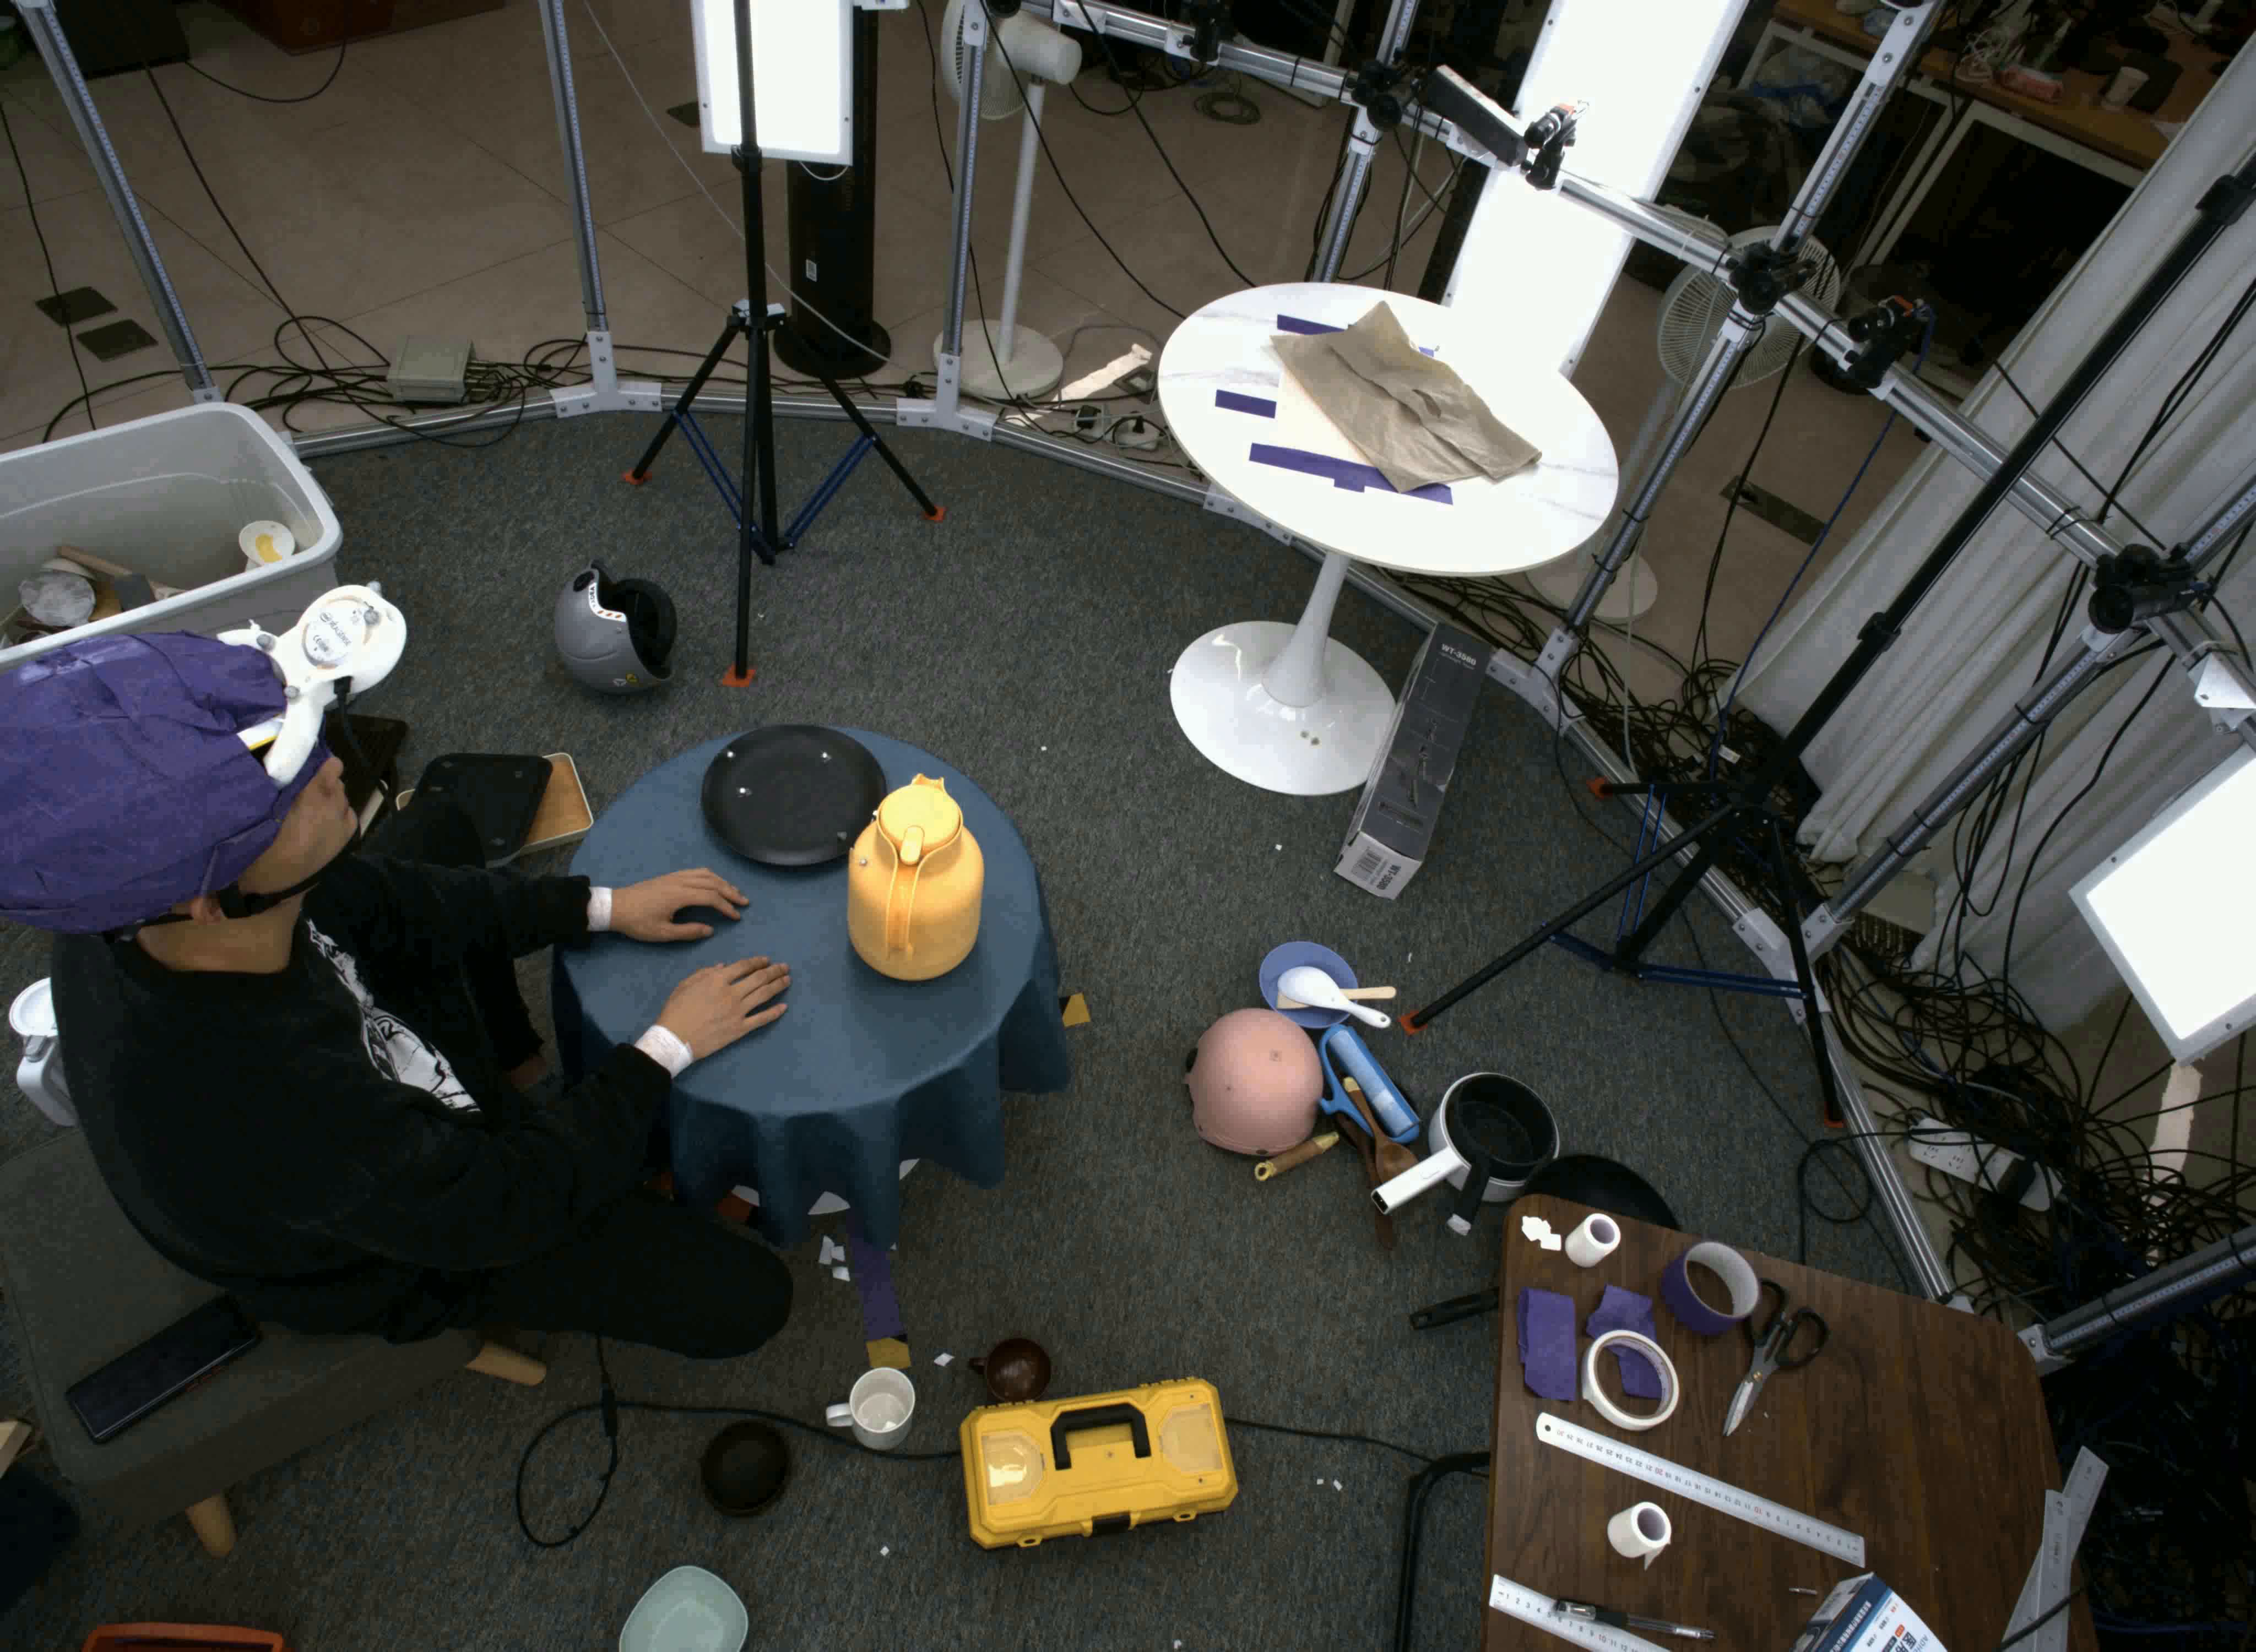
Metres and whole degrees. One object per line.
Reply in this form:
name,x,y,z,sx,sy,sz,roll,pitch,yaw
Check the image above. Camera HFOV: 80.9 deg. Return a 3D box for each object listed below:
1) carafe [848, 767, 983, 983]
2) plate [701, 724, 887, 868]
carafe,-0.258,0.072,1.540,0.162,0.267,0.199,10,49,-1
plate,-0.444,-0.040,1.731,0.244,0.024,0.240,8,52,-9
